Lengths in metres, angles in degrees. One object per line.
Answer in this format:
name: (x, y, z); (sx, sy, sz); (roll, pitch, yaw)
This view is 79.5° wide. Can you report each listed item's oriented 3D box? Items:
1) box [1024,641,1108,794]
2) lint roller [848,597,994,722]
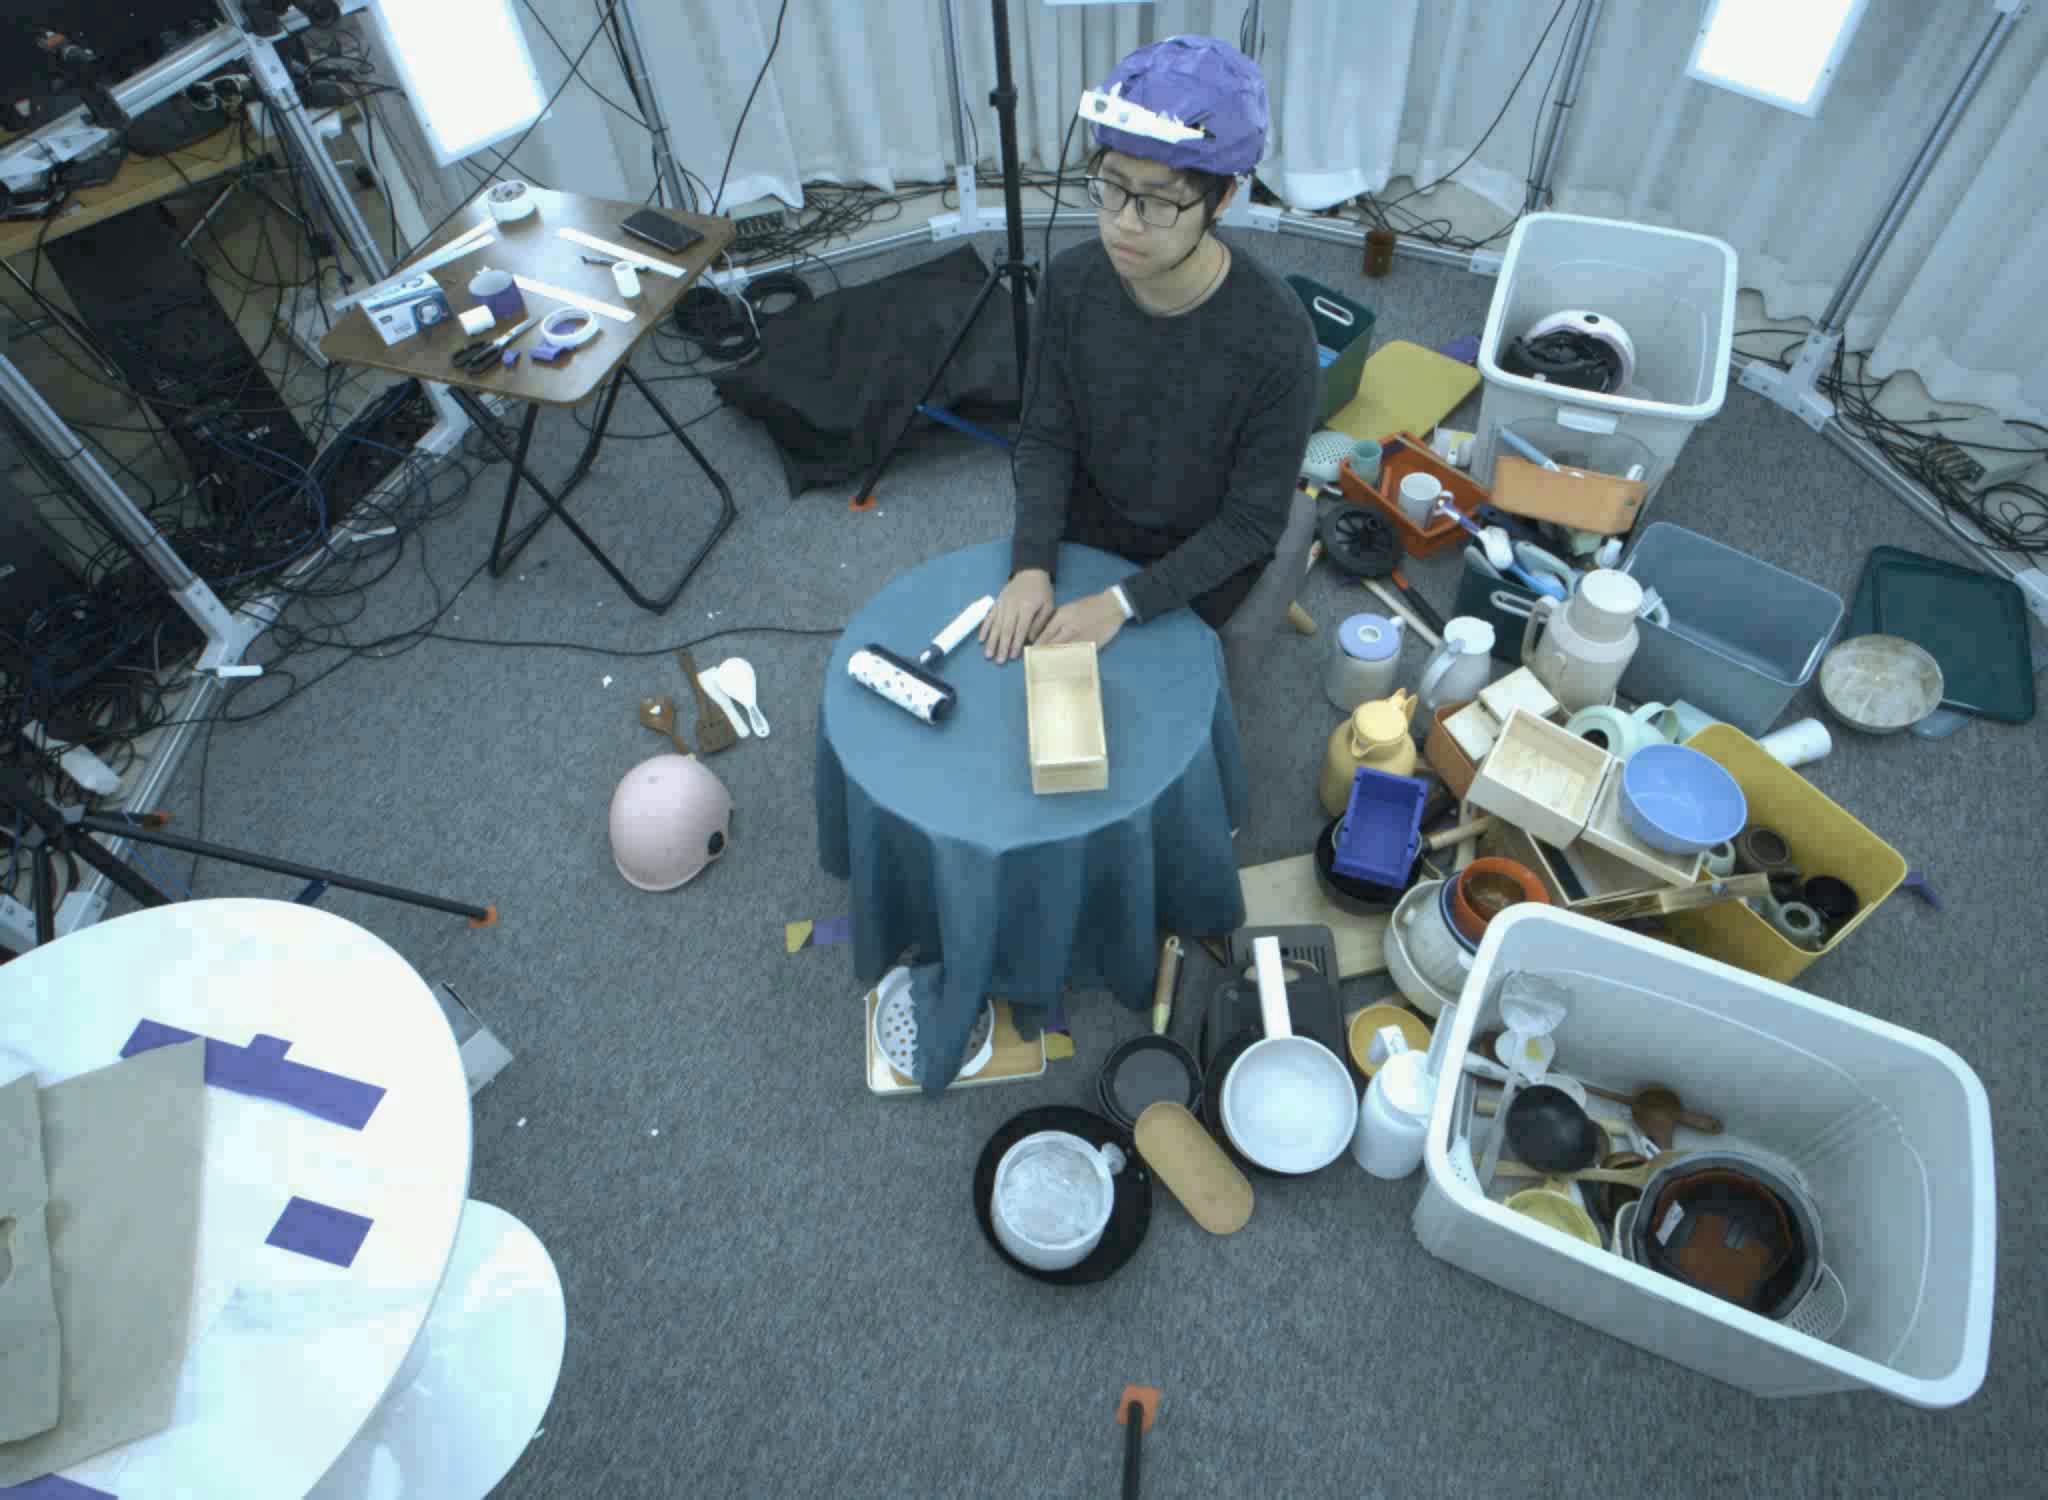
box: (0.059, -0.049, 1.771); (0.107, 0.081, 0.209); (-4, 54, 0)
lint roller: (-0.130, -0.163, 1.880); (0.173, 0.051, 0.248); (29, 60, 22)
